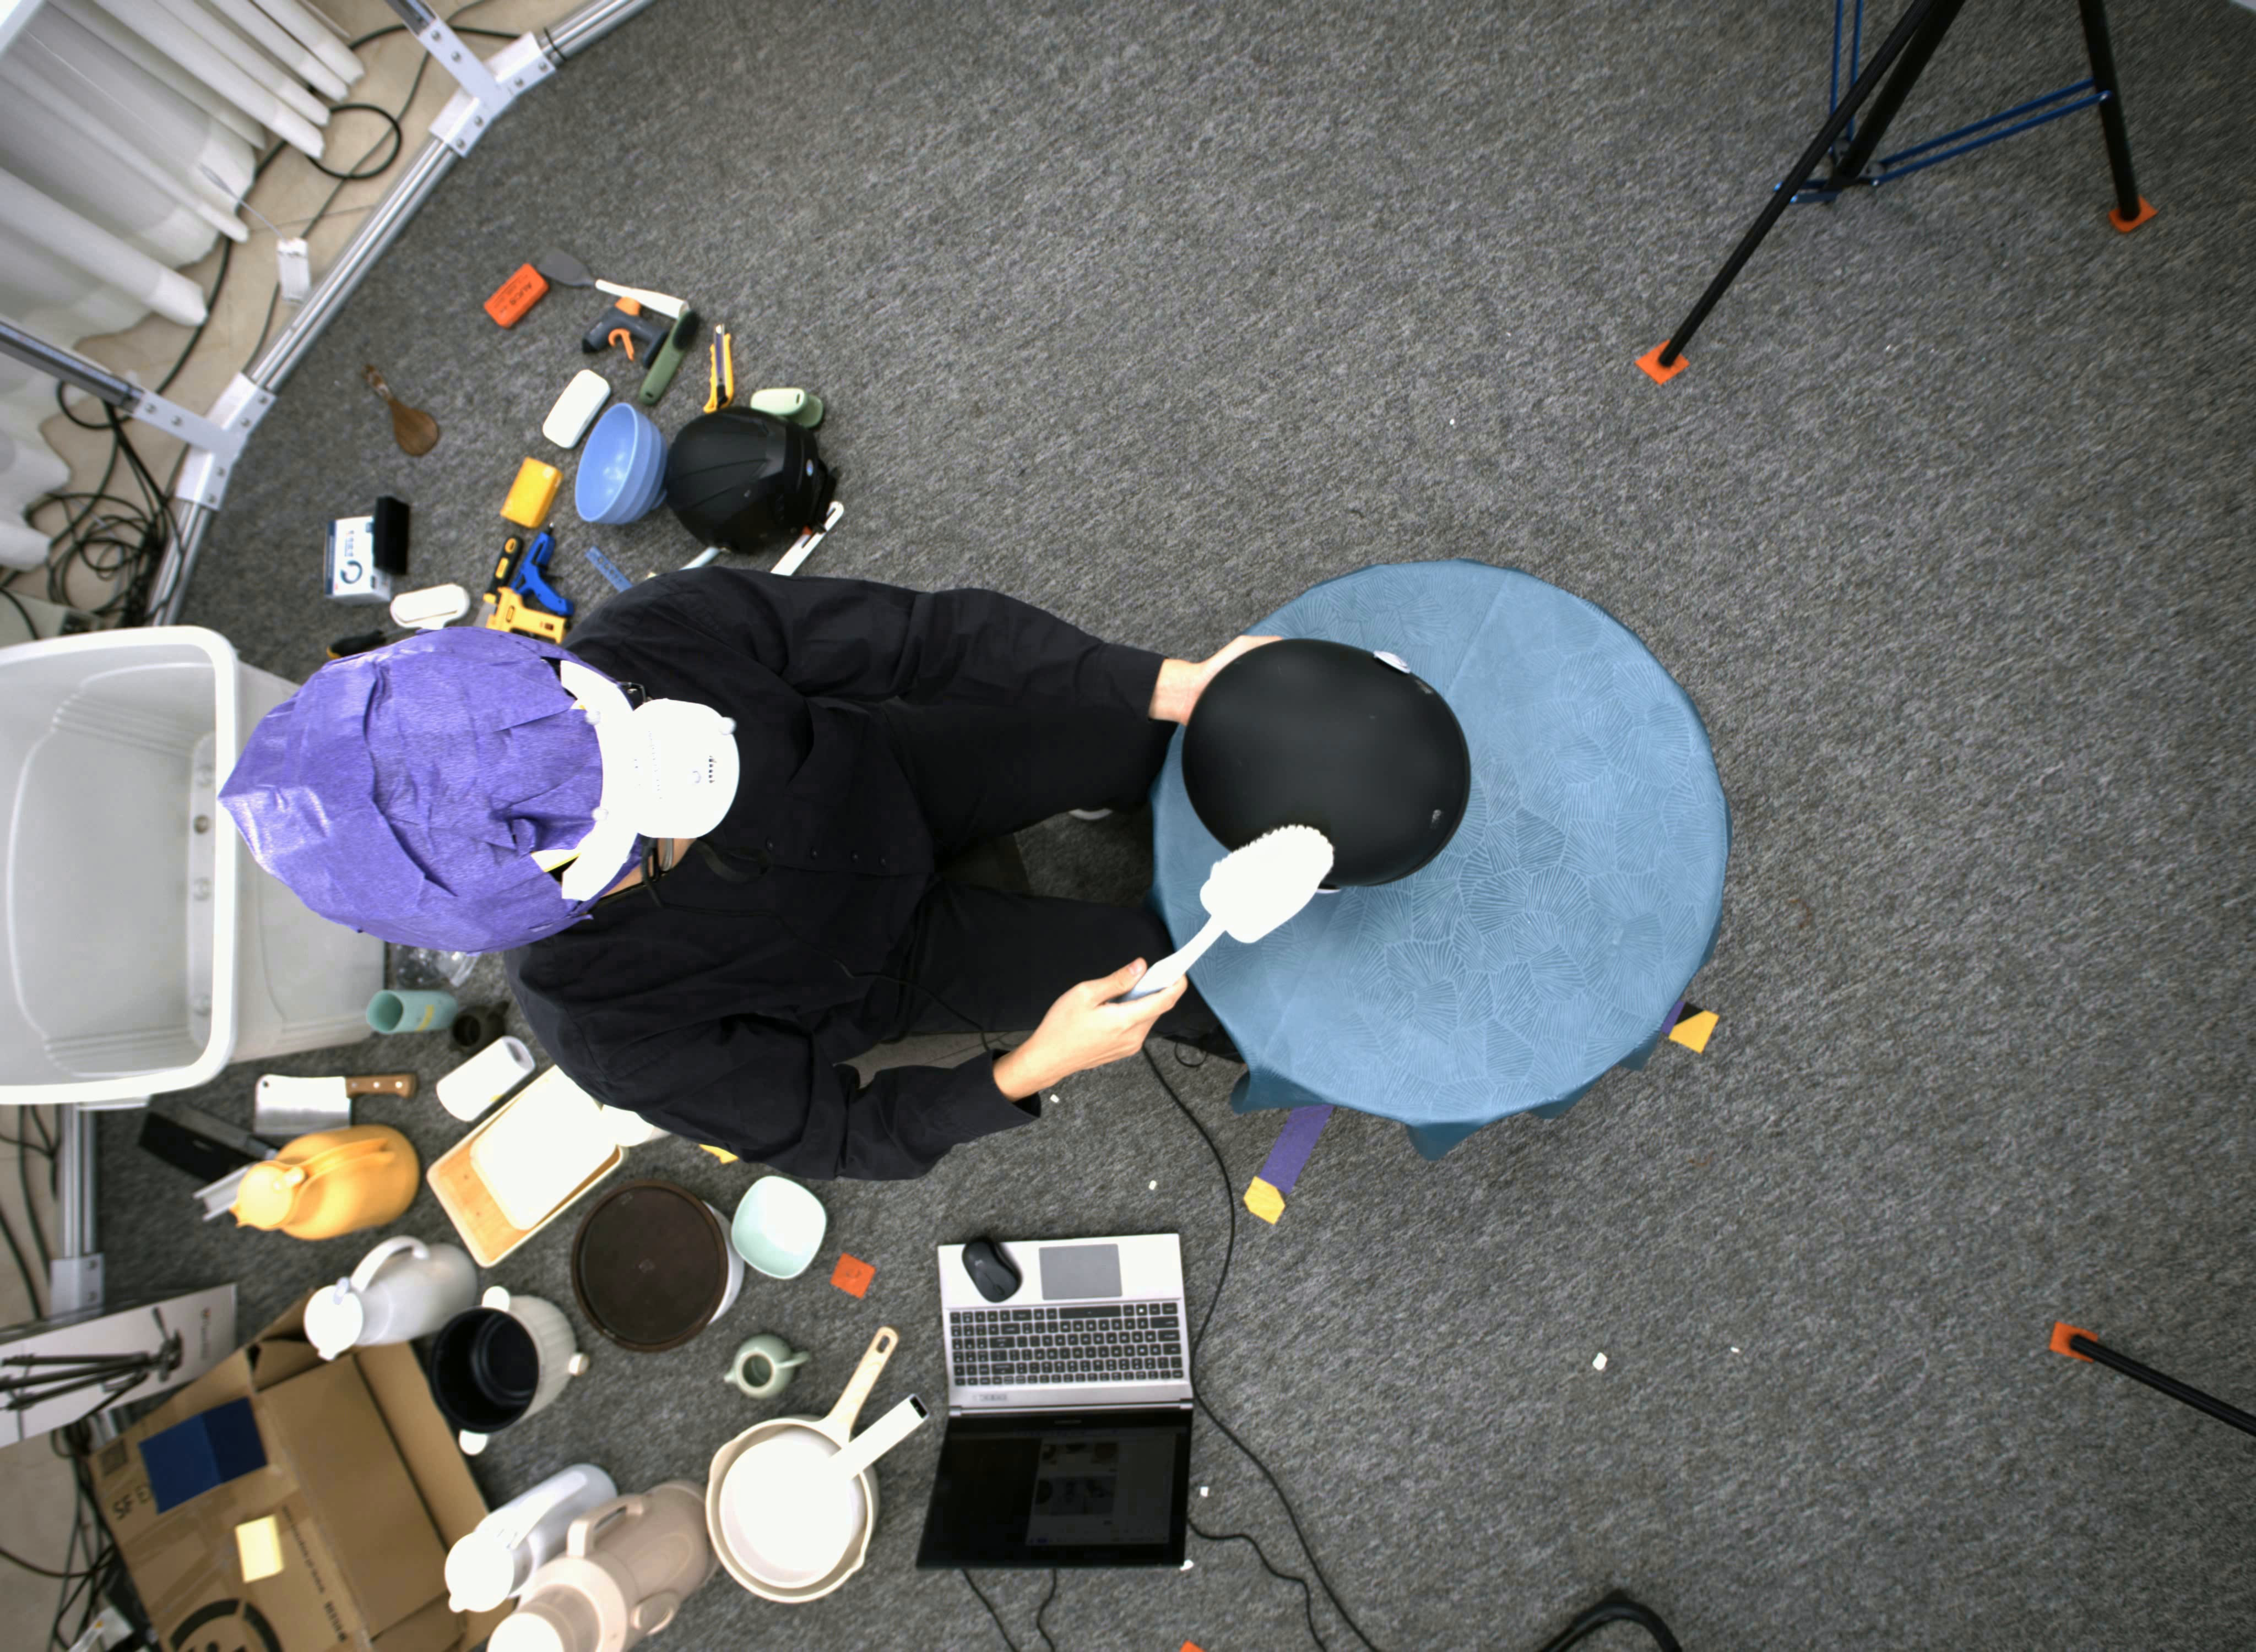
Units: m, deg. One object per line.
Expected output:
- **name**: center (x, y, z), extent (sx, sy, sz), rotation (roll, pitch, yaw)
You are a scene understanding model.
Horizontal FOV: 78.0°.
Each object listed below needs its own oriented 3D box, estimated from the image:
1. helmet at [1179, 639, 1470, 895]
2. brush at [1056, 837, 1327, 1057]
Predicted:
- **helmet**: center (0.157, -0.057, 1.252), extent (0.272, 0.165, 0.233), rotation (27, 110, 33)
- **brush**: center (0.051, 0.105, 1.255), extent (0.332, 0.084, 0.082), rotation (-39, 61, 31)
